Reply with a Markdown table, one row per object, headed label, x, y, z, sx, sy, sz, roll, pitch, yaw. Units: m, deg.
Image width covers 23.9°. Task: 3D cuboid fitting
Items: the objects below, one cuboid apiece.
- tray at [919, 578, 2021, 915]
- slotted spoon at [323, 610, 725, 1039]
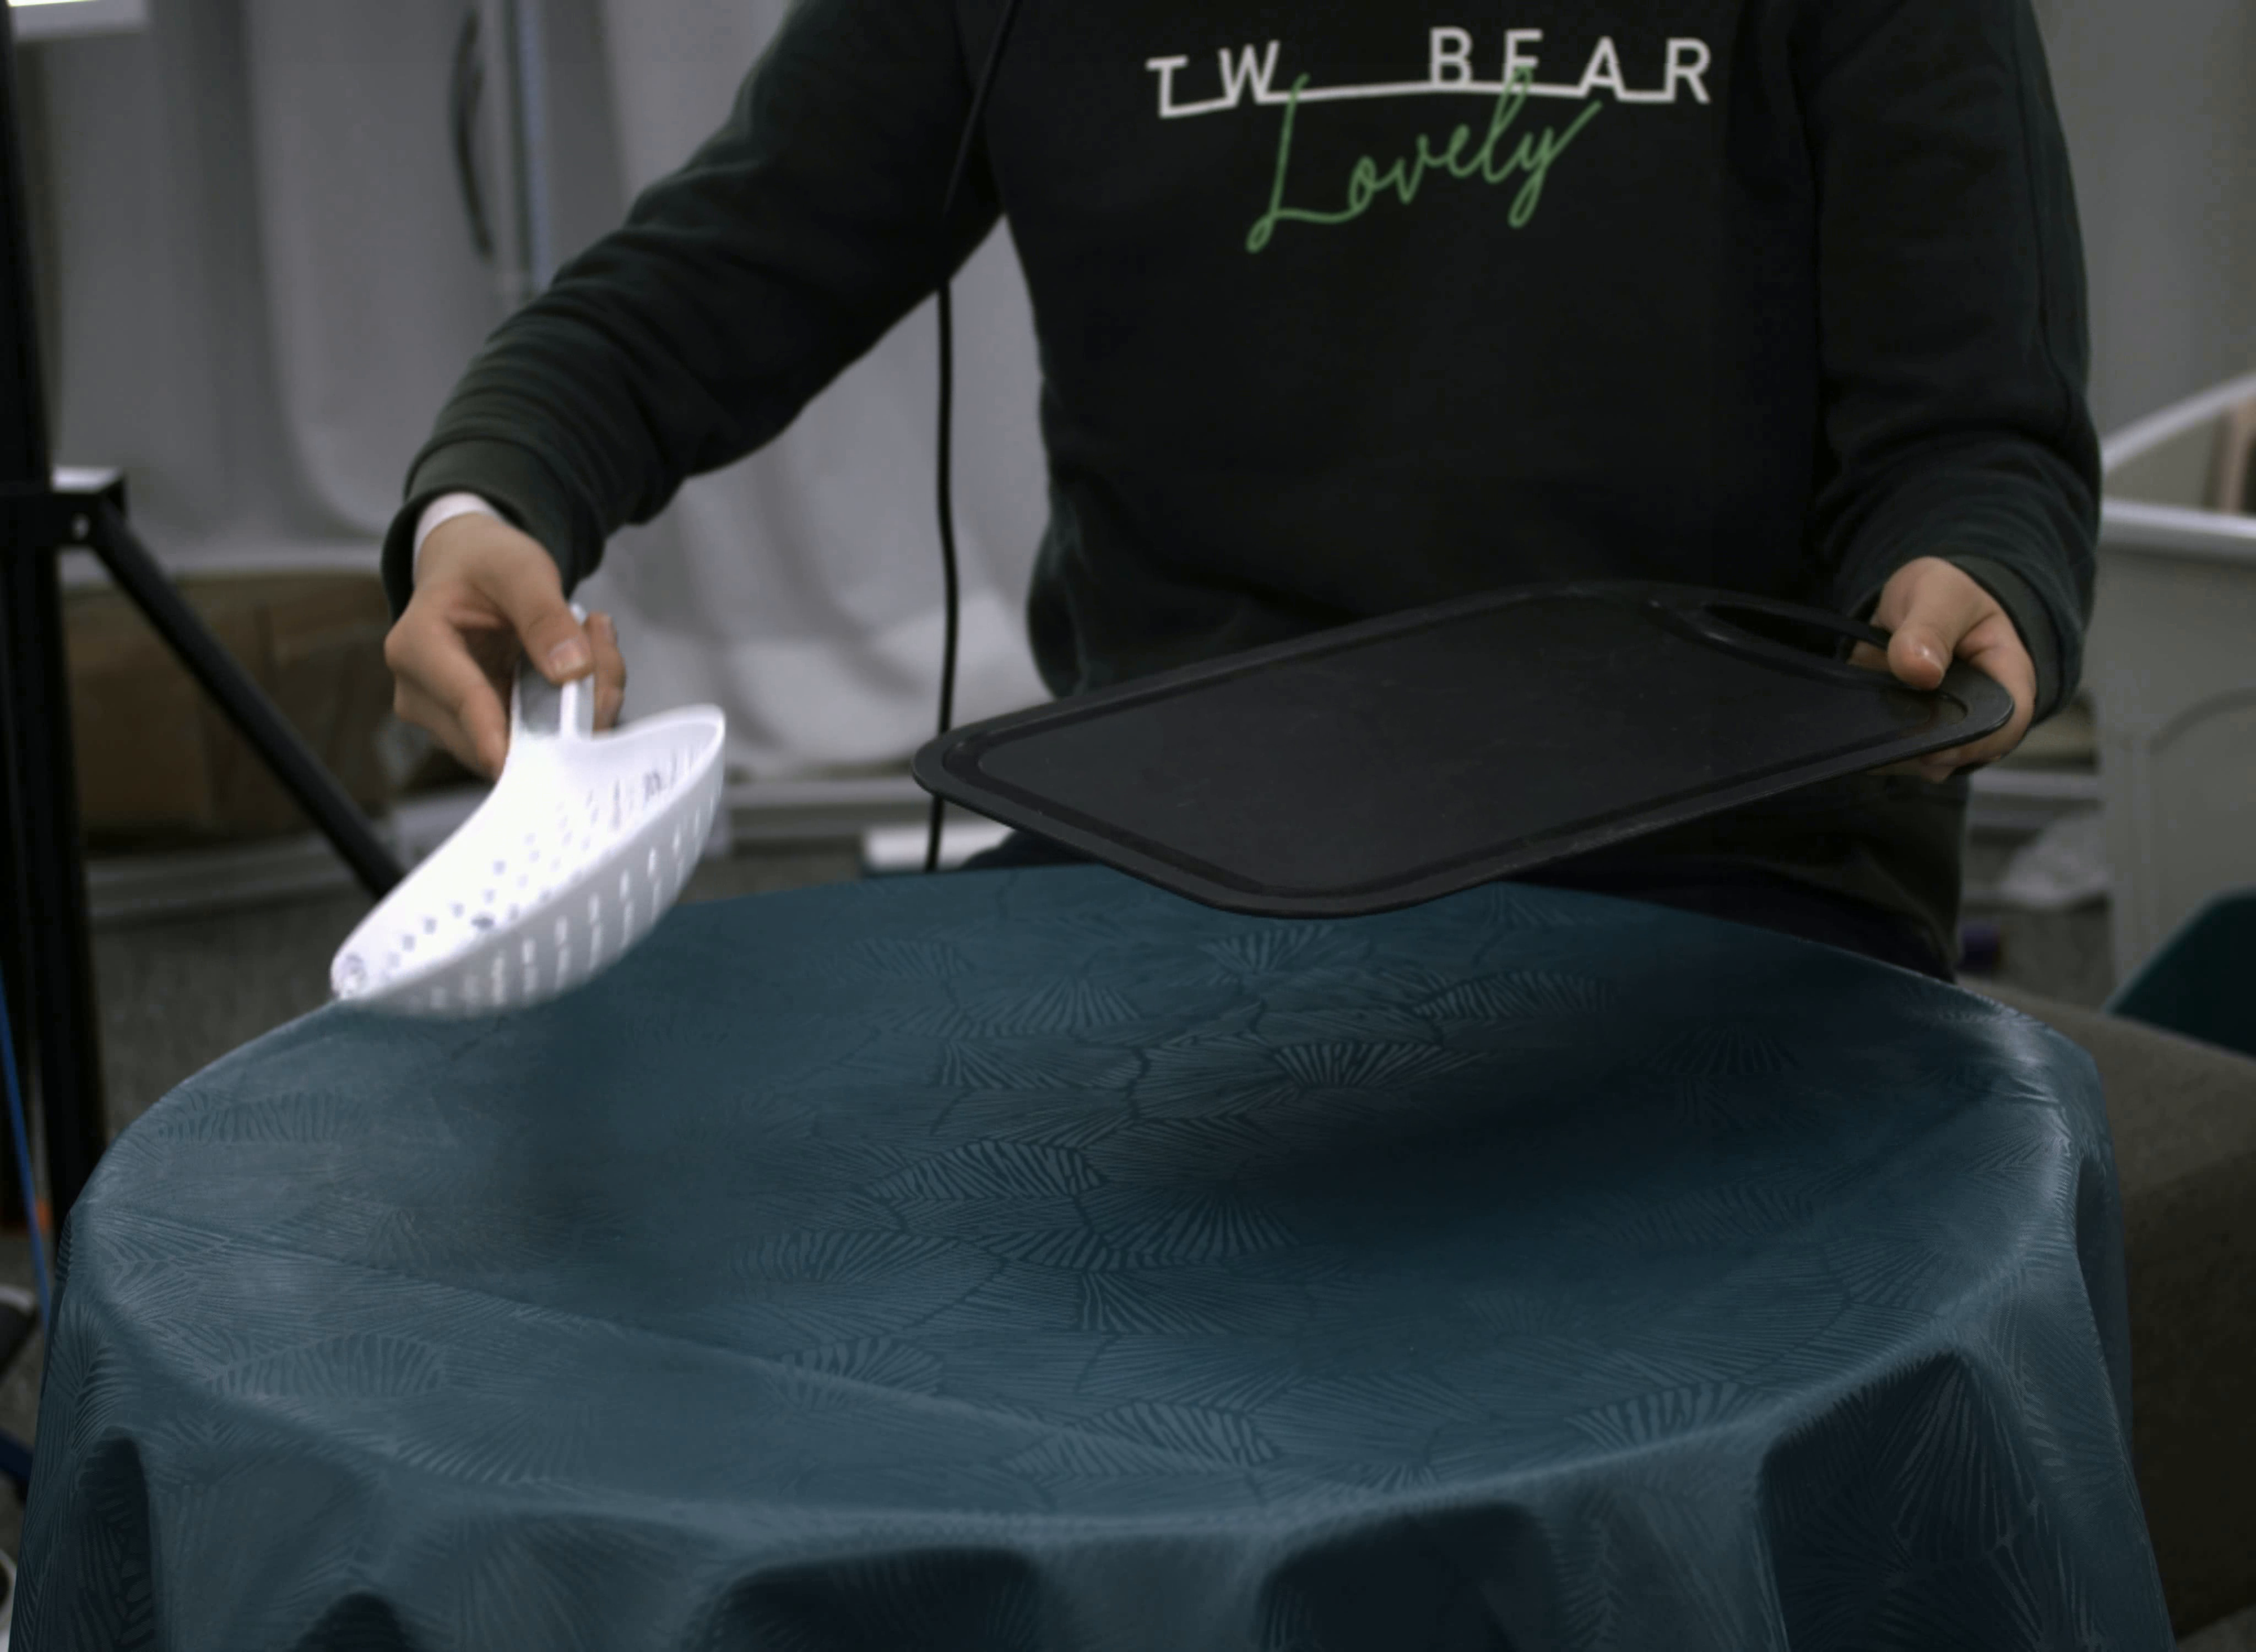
| label | x | y | z | sx | sy | sz | roll | pitch | yaw |
| --- | --- | --- | --- | --- | --- | --- | --- | --- | --- |
| tray | 0.110 | -0.031 | 1.599 | 0.318 | 0.010 | 0.216 | -15 | 22 | -33 |
| slotted spoon | -0.179 | -0.011 | 1.643 | 0.136 | 0.045 | 0.353 | -31 | 21 | 5 |
